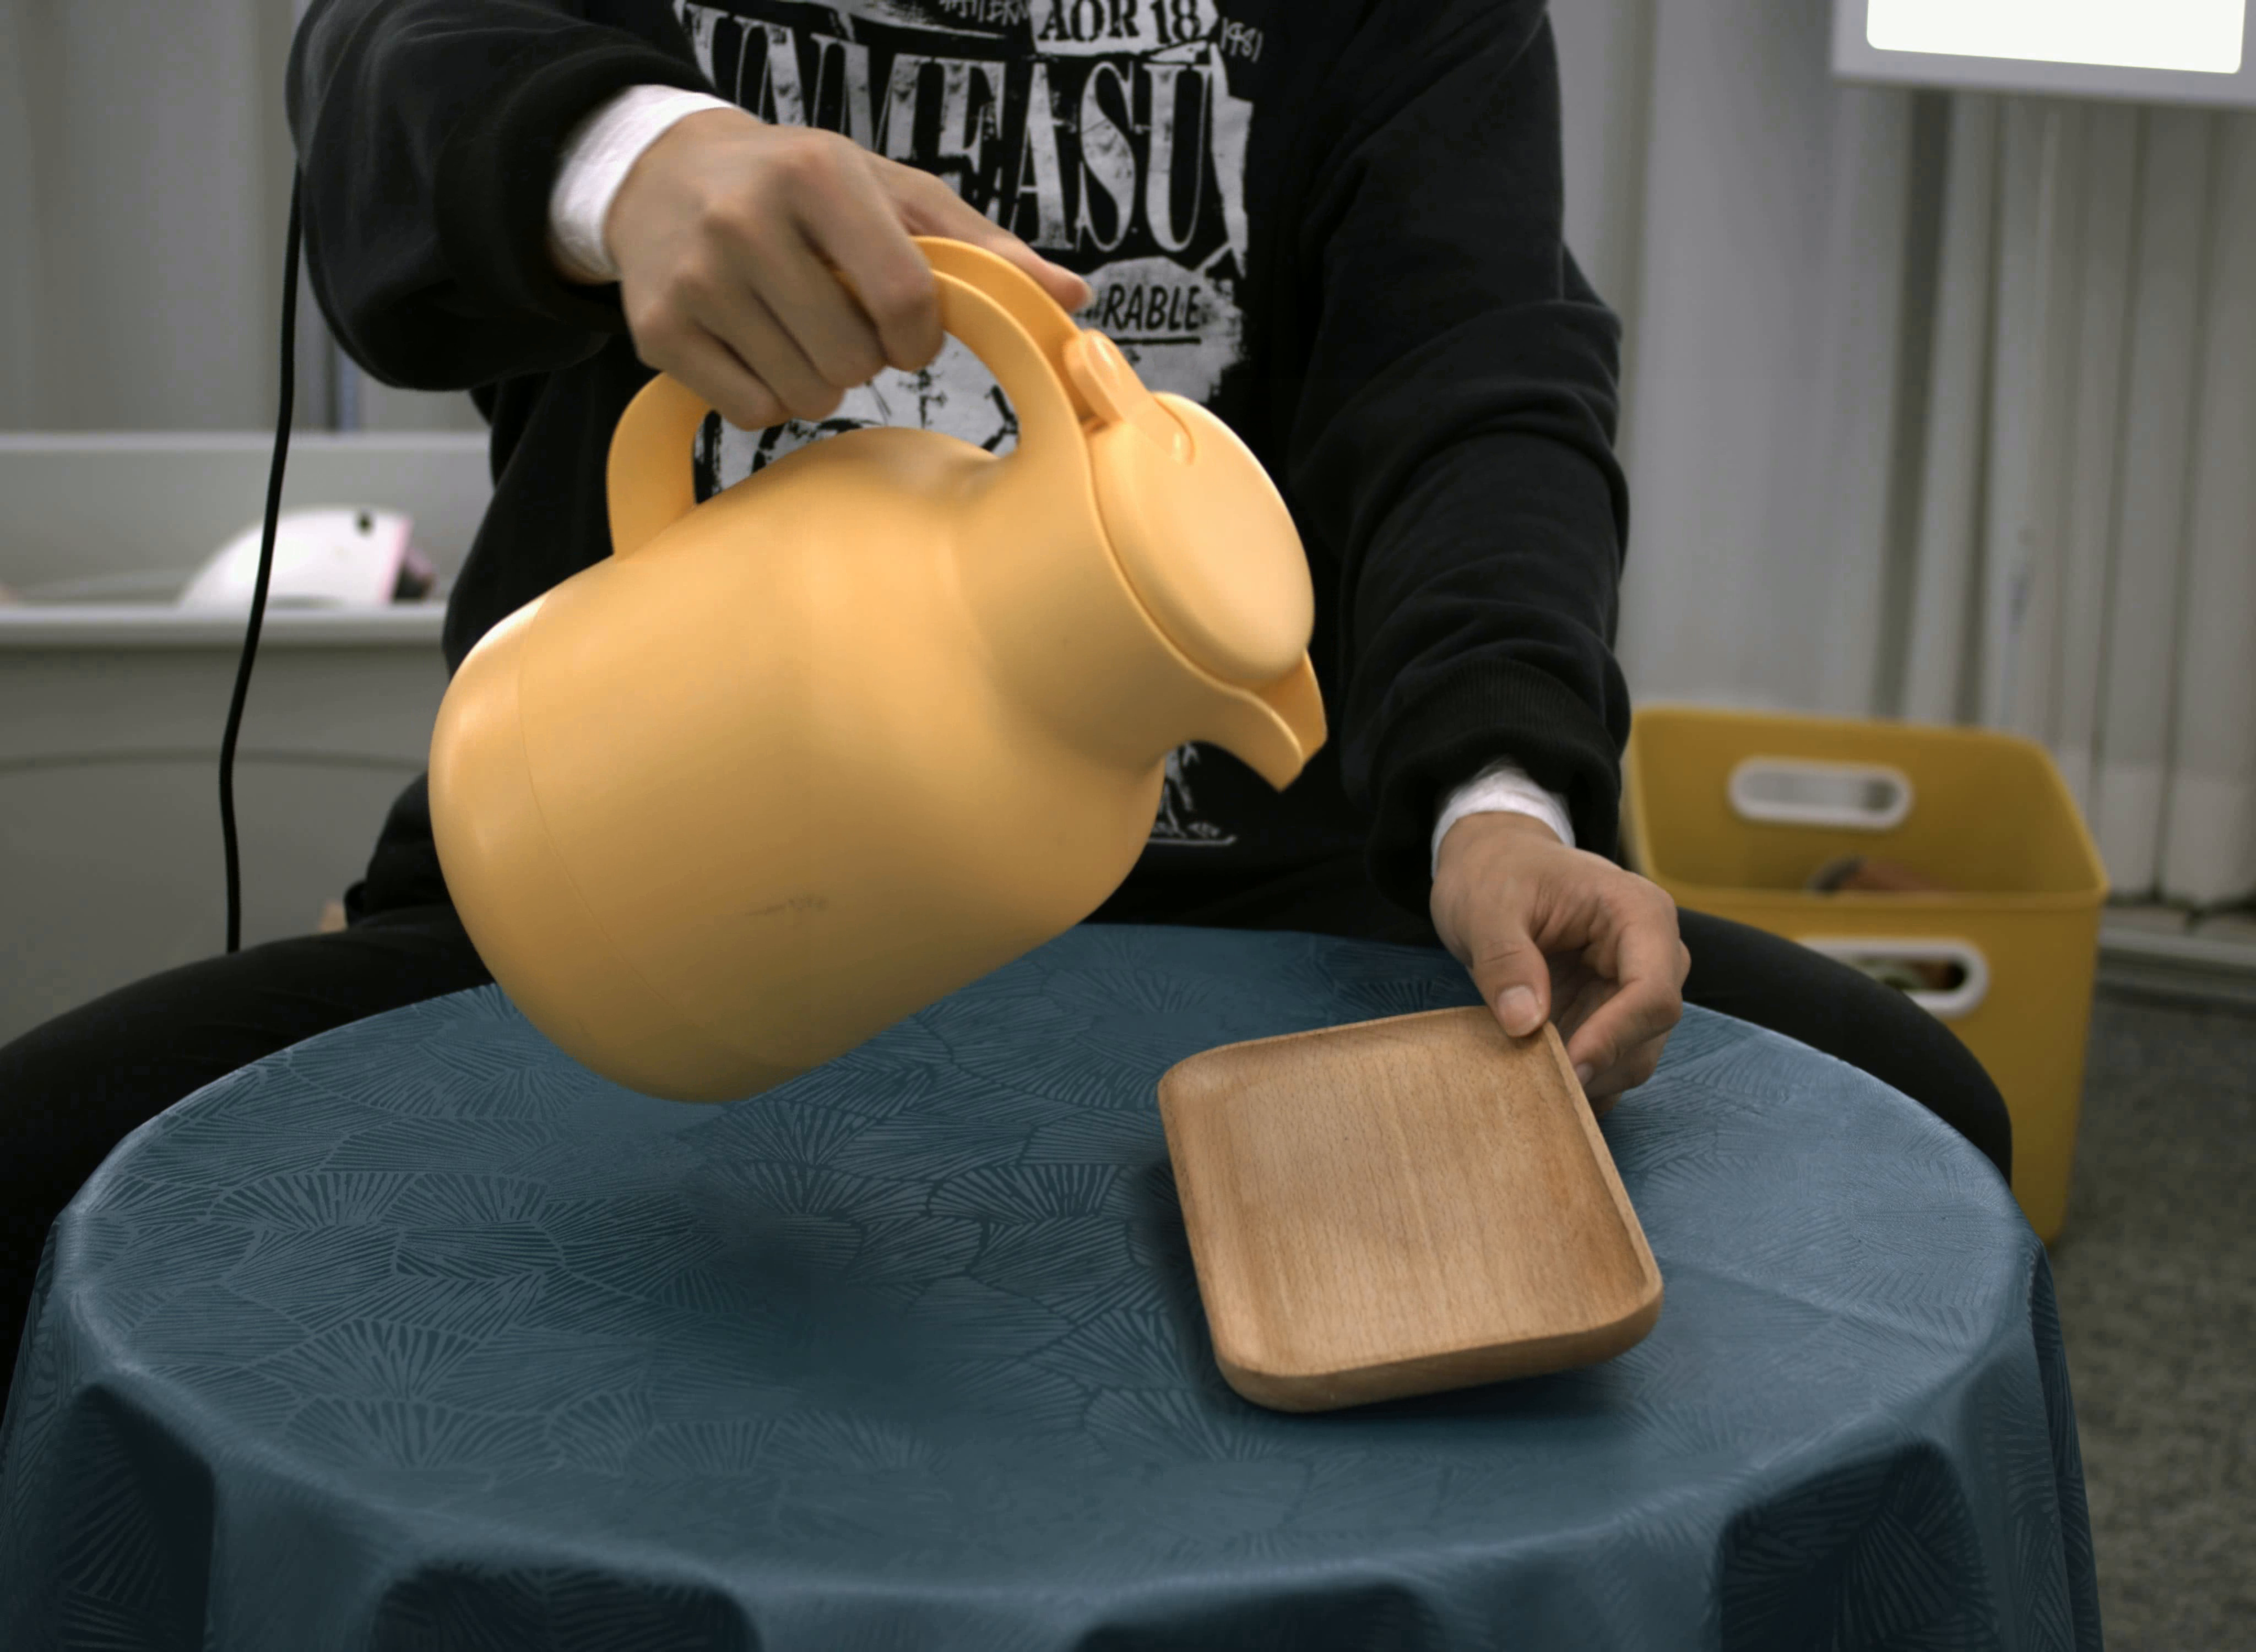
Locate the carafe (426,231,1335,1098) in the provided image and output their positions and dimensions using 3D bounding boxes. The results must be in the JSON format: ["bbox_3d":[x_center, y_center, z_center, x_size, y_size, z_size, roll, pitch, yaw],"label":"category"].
[{"bbox_3d":[-0.077,-0.051,1.521,0.259,0.203,0.163,-26,11,28],"label":"carafe"}]

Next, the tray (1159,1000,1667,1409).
[{"bbox_3d":[0.080,0.108,1.554,0.130,0.023,0.249,-6,19,-2],"label":"tray"}]
